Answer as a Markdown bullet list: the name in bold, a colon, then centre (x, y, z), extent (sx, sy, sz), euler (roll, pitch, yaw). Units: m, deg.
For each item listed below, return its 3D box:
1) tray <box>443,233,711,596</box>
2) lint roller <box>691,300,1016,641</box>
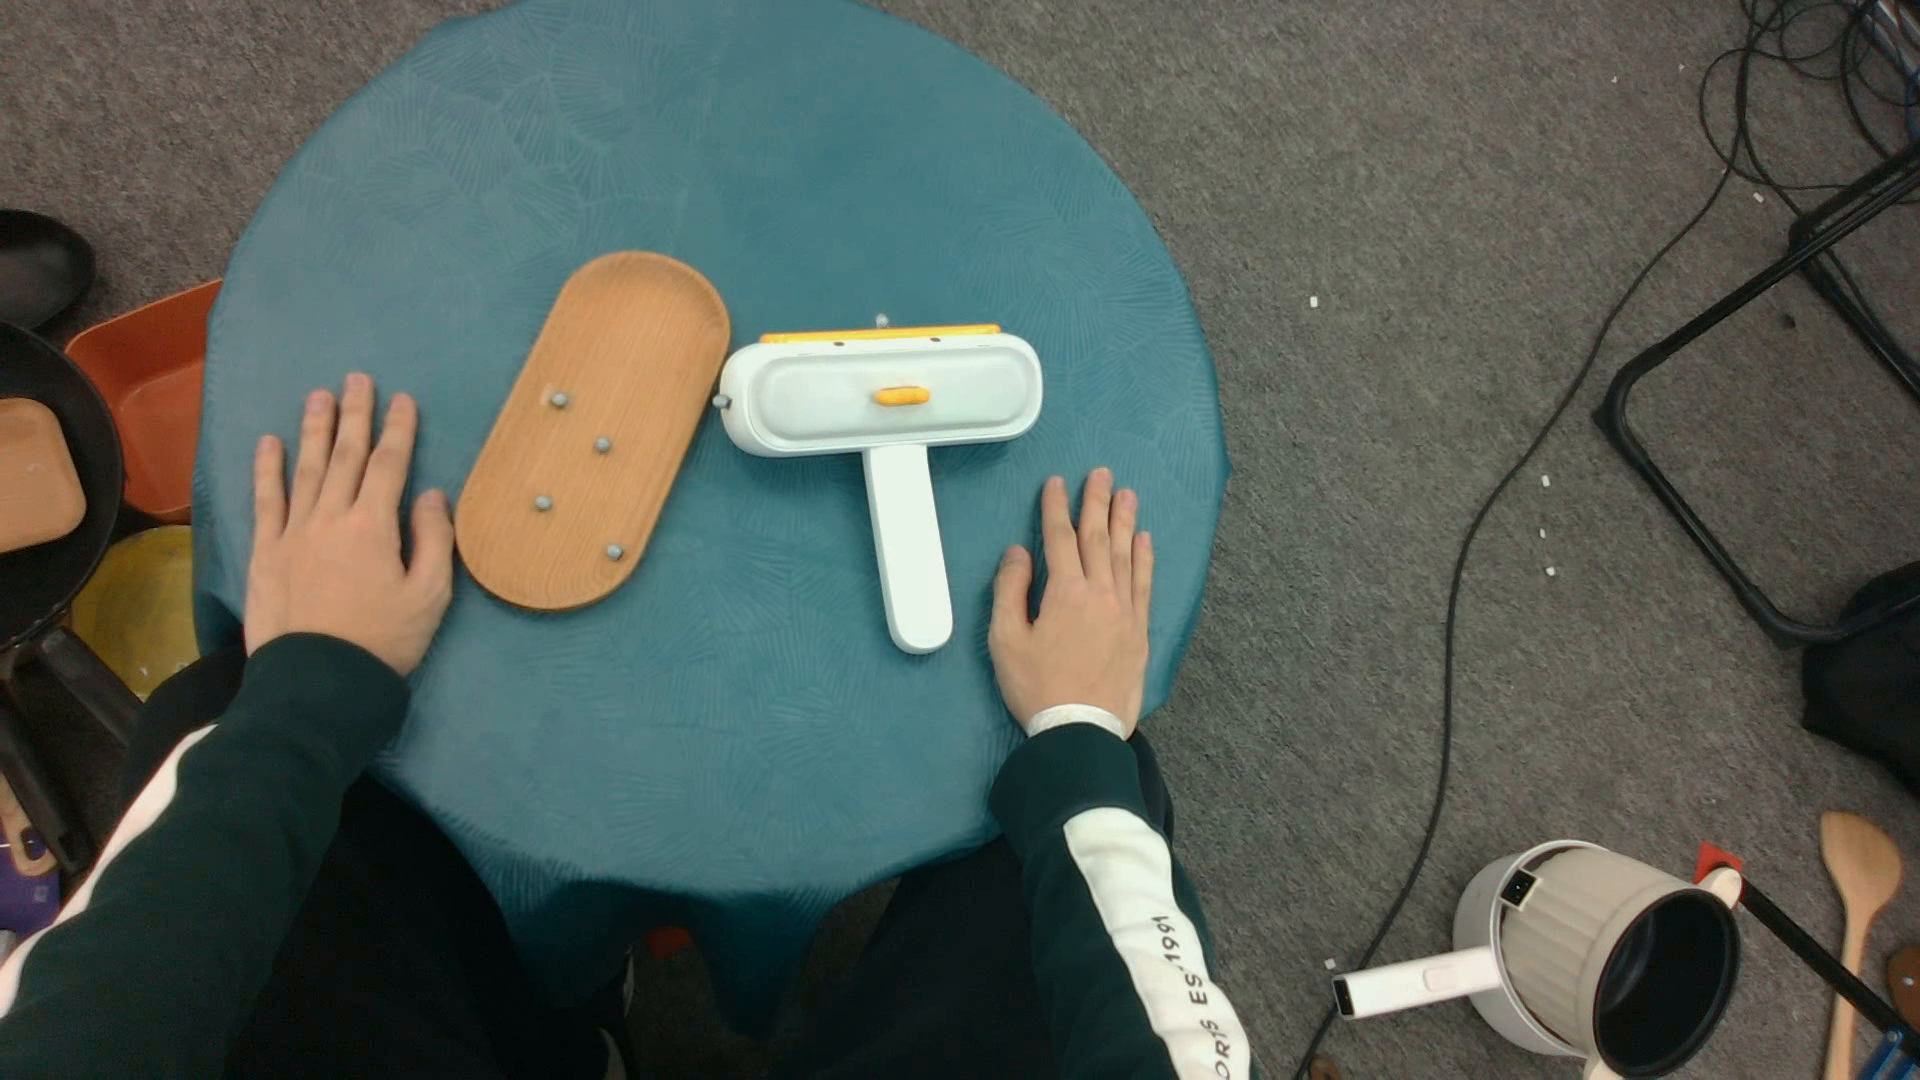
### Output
- **tray**: centre (-0.214, -0.075, 0.782), extent (0.102, 0.020, 0.232), euler (19, 66, -8)
- **lint roller**: centre (-0.046, -0.037, 0.794), extent (0.193, 0.074, 0.192), euler (-11, 93, -24)
